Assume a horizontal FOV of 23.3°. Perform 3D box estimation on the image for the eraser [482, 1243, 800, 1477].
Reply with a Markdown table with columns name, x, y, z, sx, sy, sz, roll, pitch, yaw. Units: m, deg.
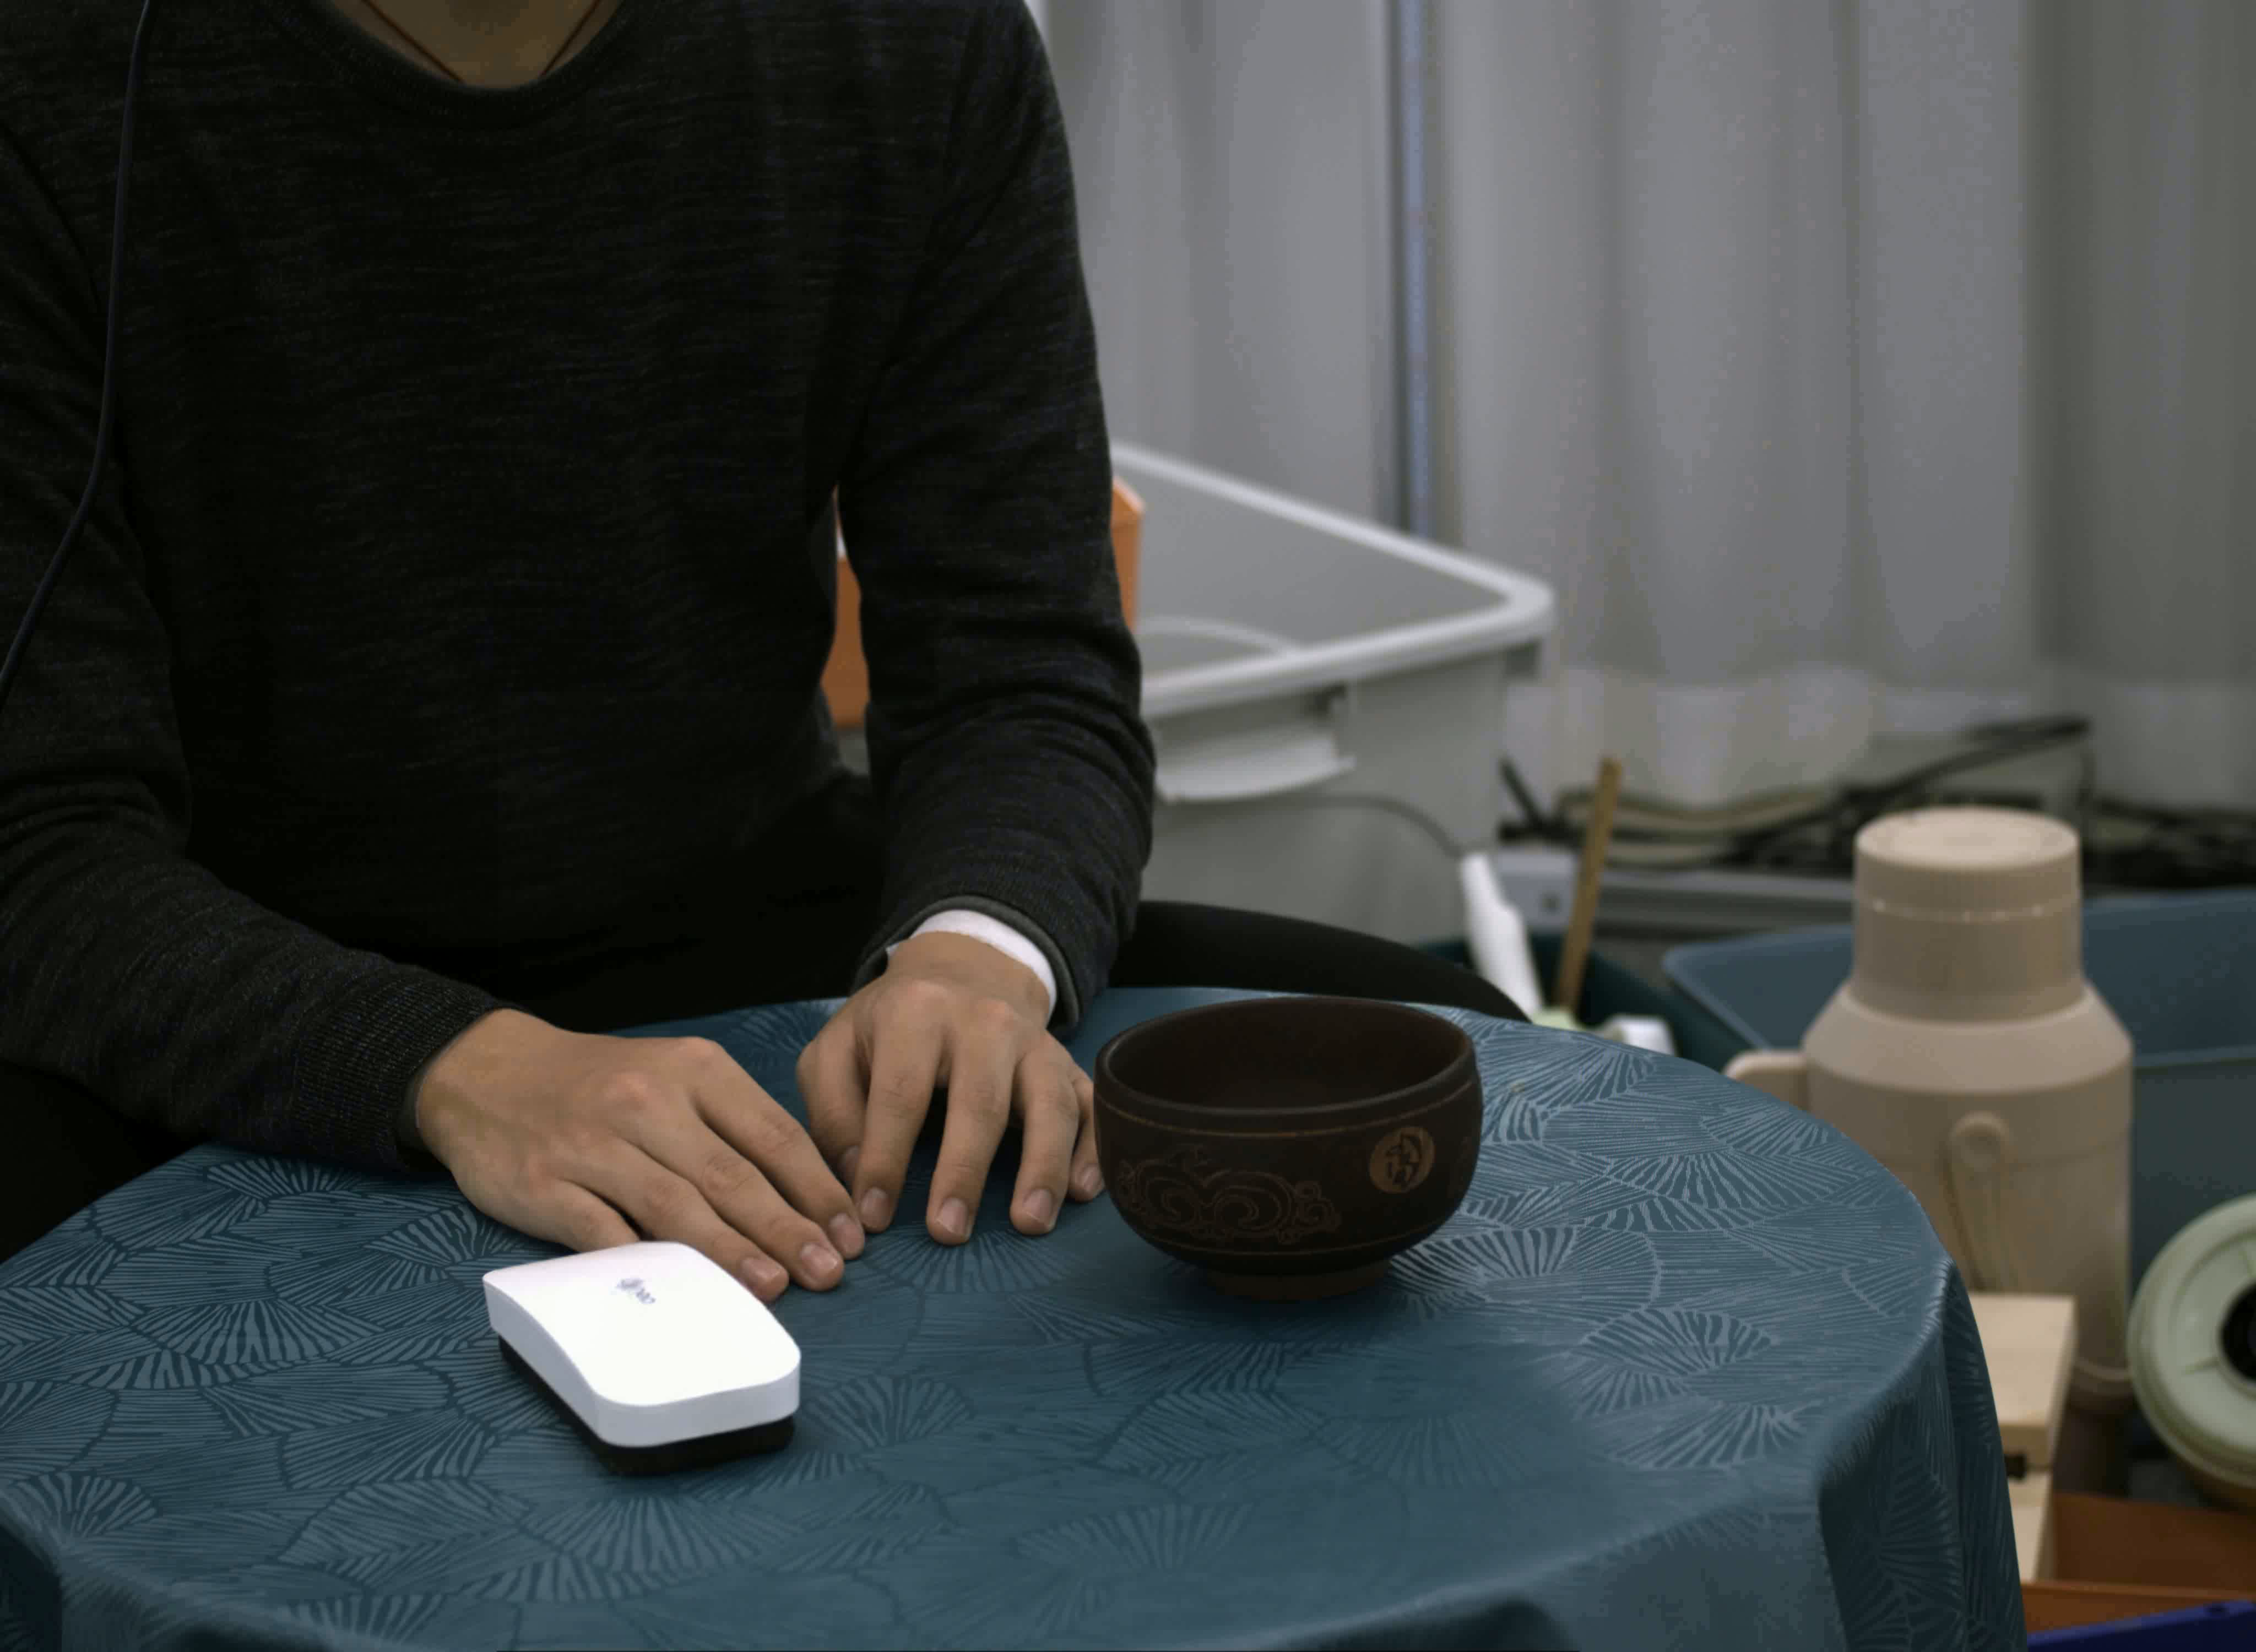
| name | x | y | z | sx | sy | sz | roll | pitch | yaw |
| --- | --- | --- | --- | --- | --- | --- | --- | --- | --- |
| eraser | -0.138 | 0.148 | 1.557 | 0.063 | 0.034 | 0.132 | -8 | 16 | -21 |

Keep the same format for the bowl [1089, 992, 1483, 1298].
| name | x | y | z | sx | sy | sz | roll | pitch | yaw |
| --- | --- | --- | --- | --- | --- | --- | --- | --- | --- |
| bowl | 0.048 | 0.099 | 1.627 | 0.117 | 0.069 | 0.119 | -4 | 14 | 1 |
